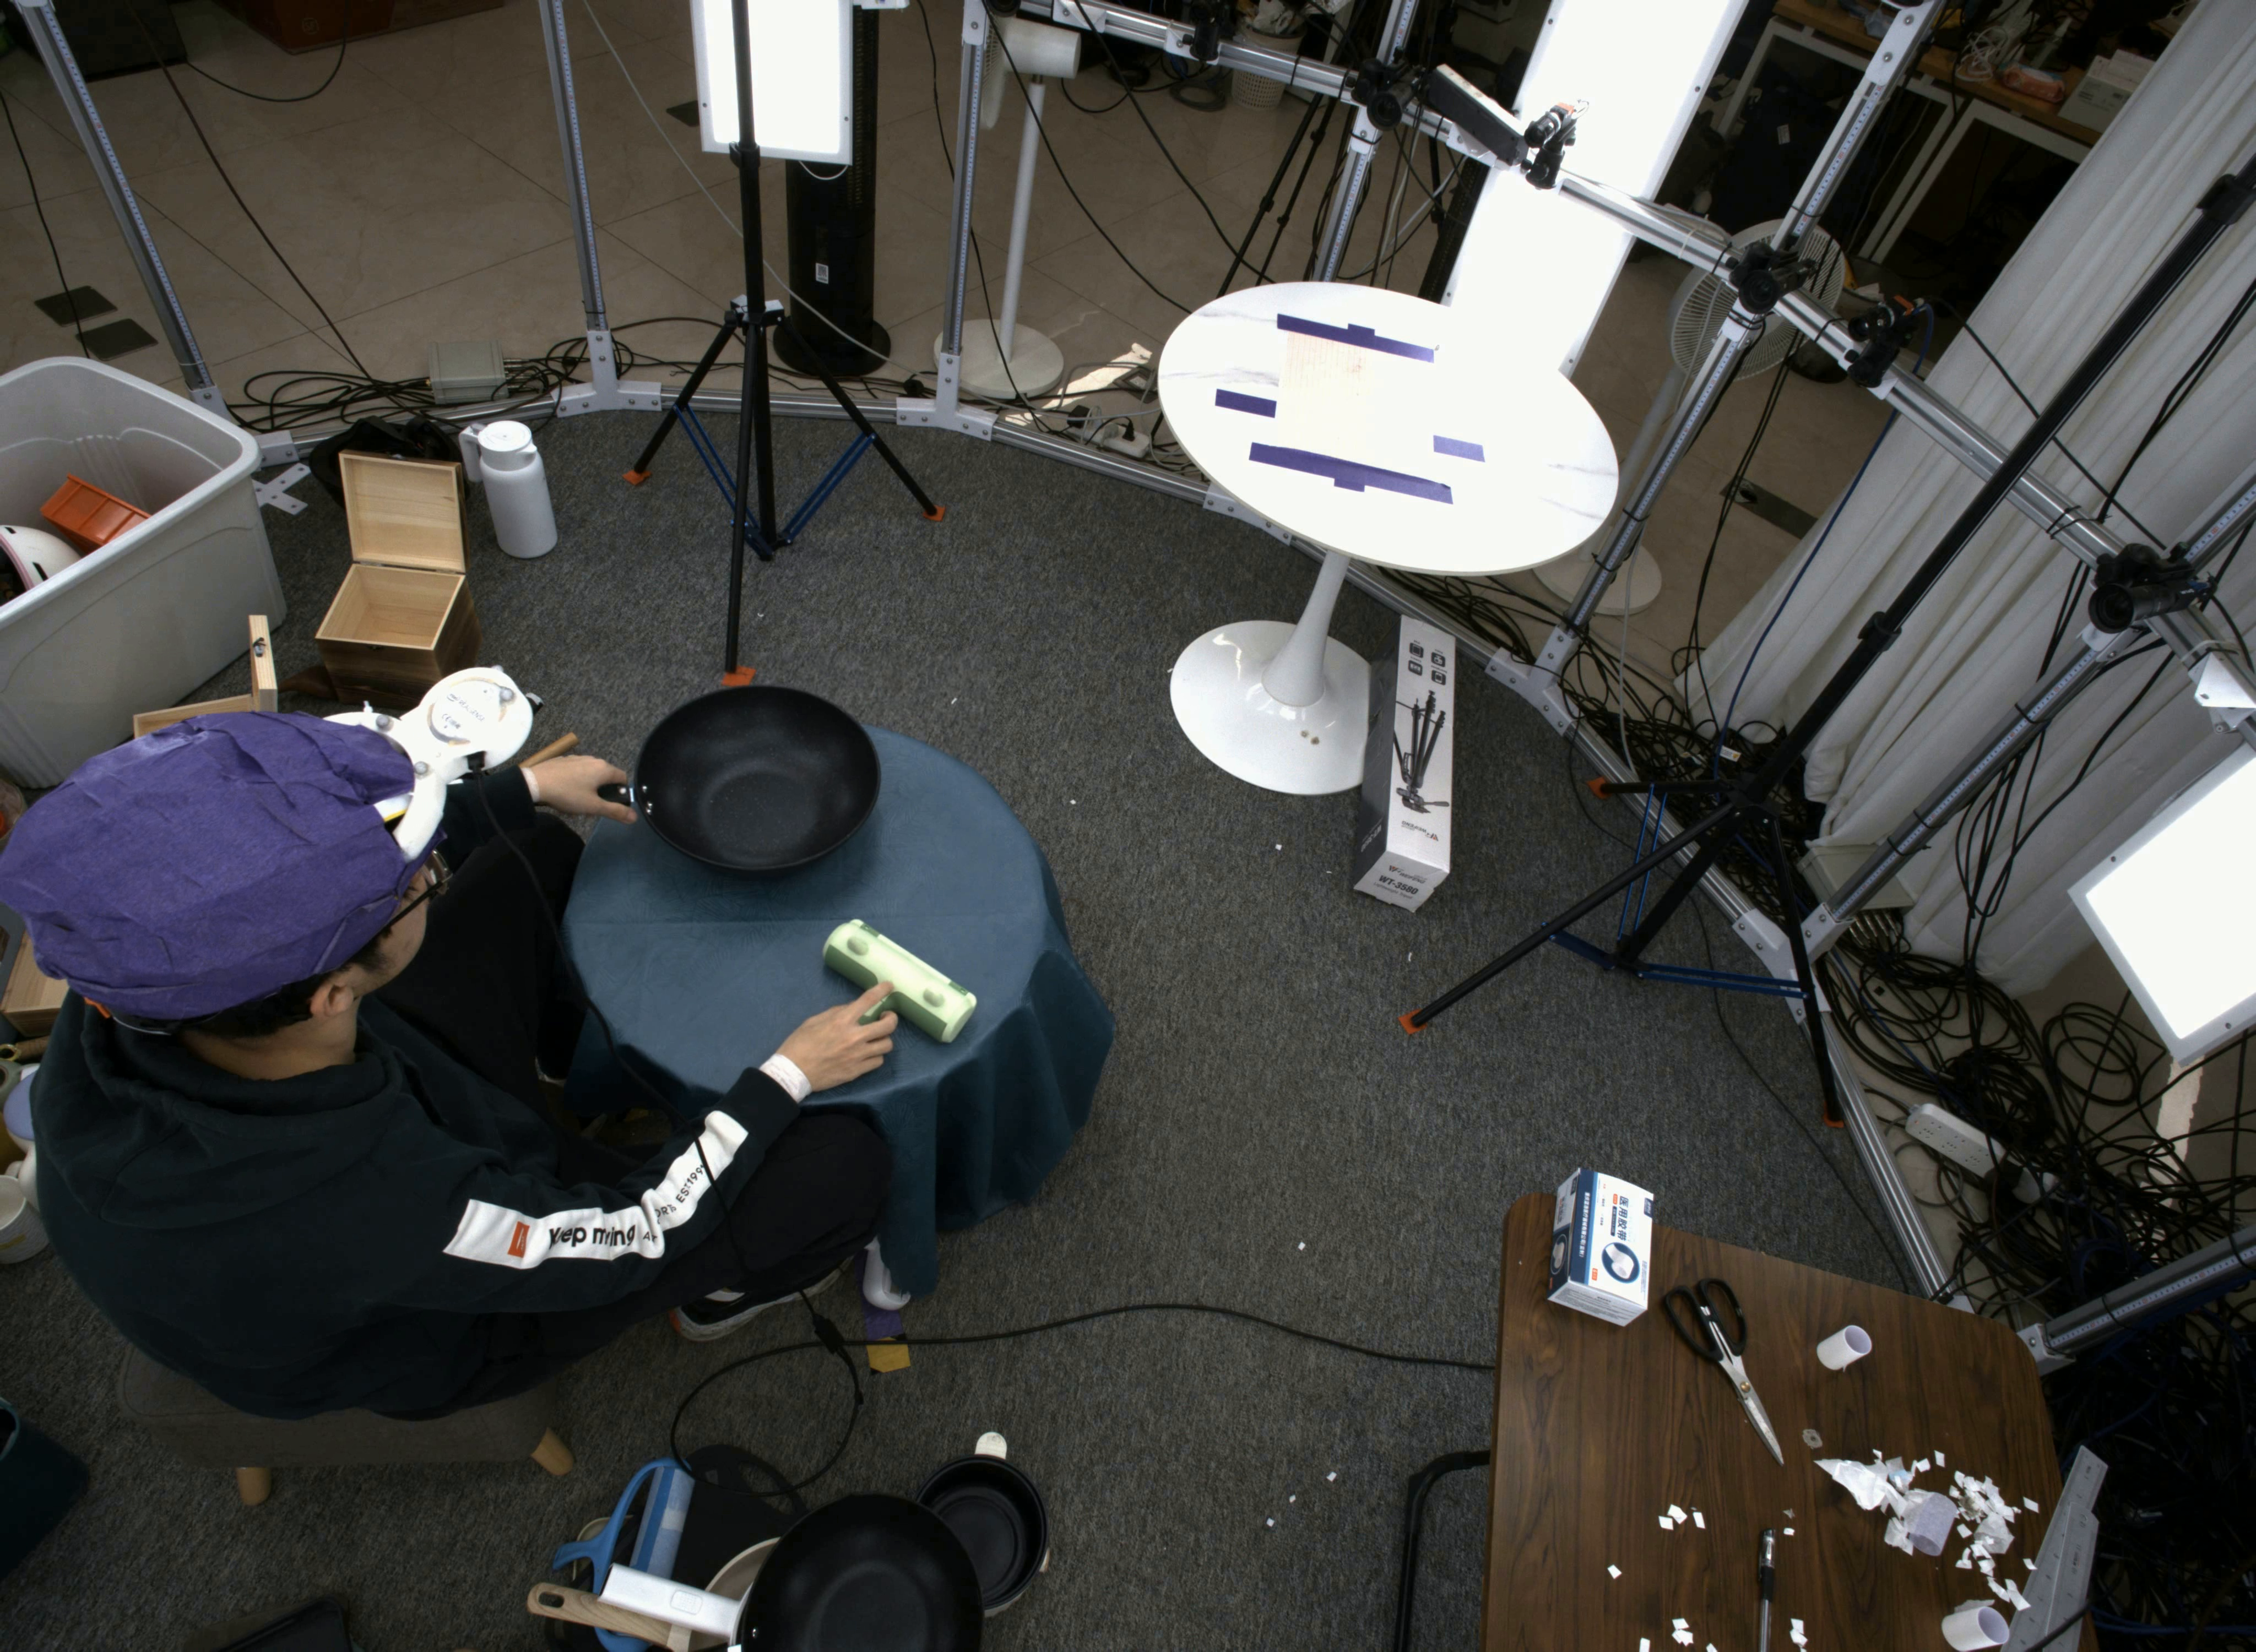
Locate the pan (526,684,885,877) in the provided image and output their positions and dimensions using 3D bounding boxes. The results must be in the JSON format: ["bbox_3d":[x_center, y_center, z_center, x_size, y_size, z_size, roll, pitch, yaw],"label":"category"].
[{"bbox_3d":[-0.551,-0.040,1.657,0.479,0.114,0.302,-10,56,-22],"label":"pan"}]

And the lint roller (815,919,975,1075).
[{"bbox_3d":[-0.310,0.213,1.553,0.195,0.084,0.183,32,48,10],"label":"lint roller"}]
